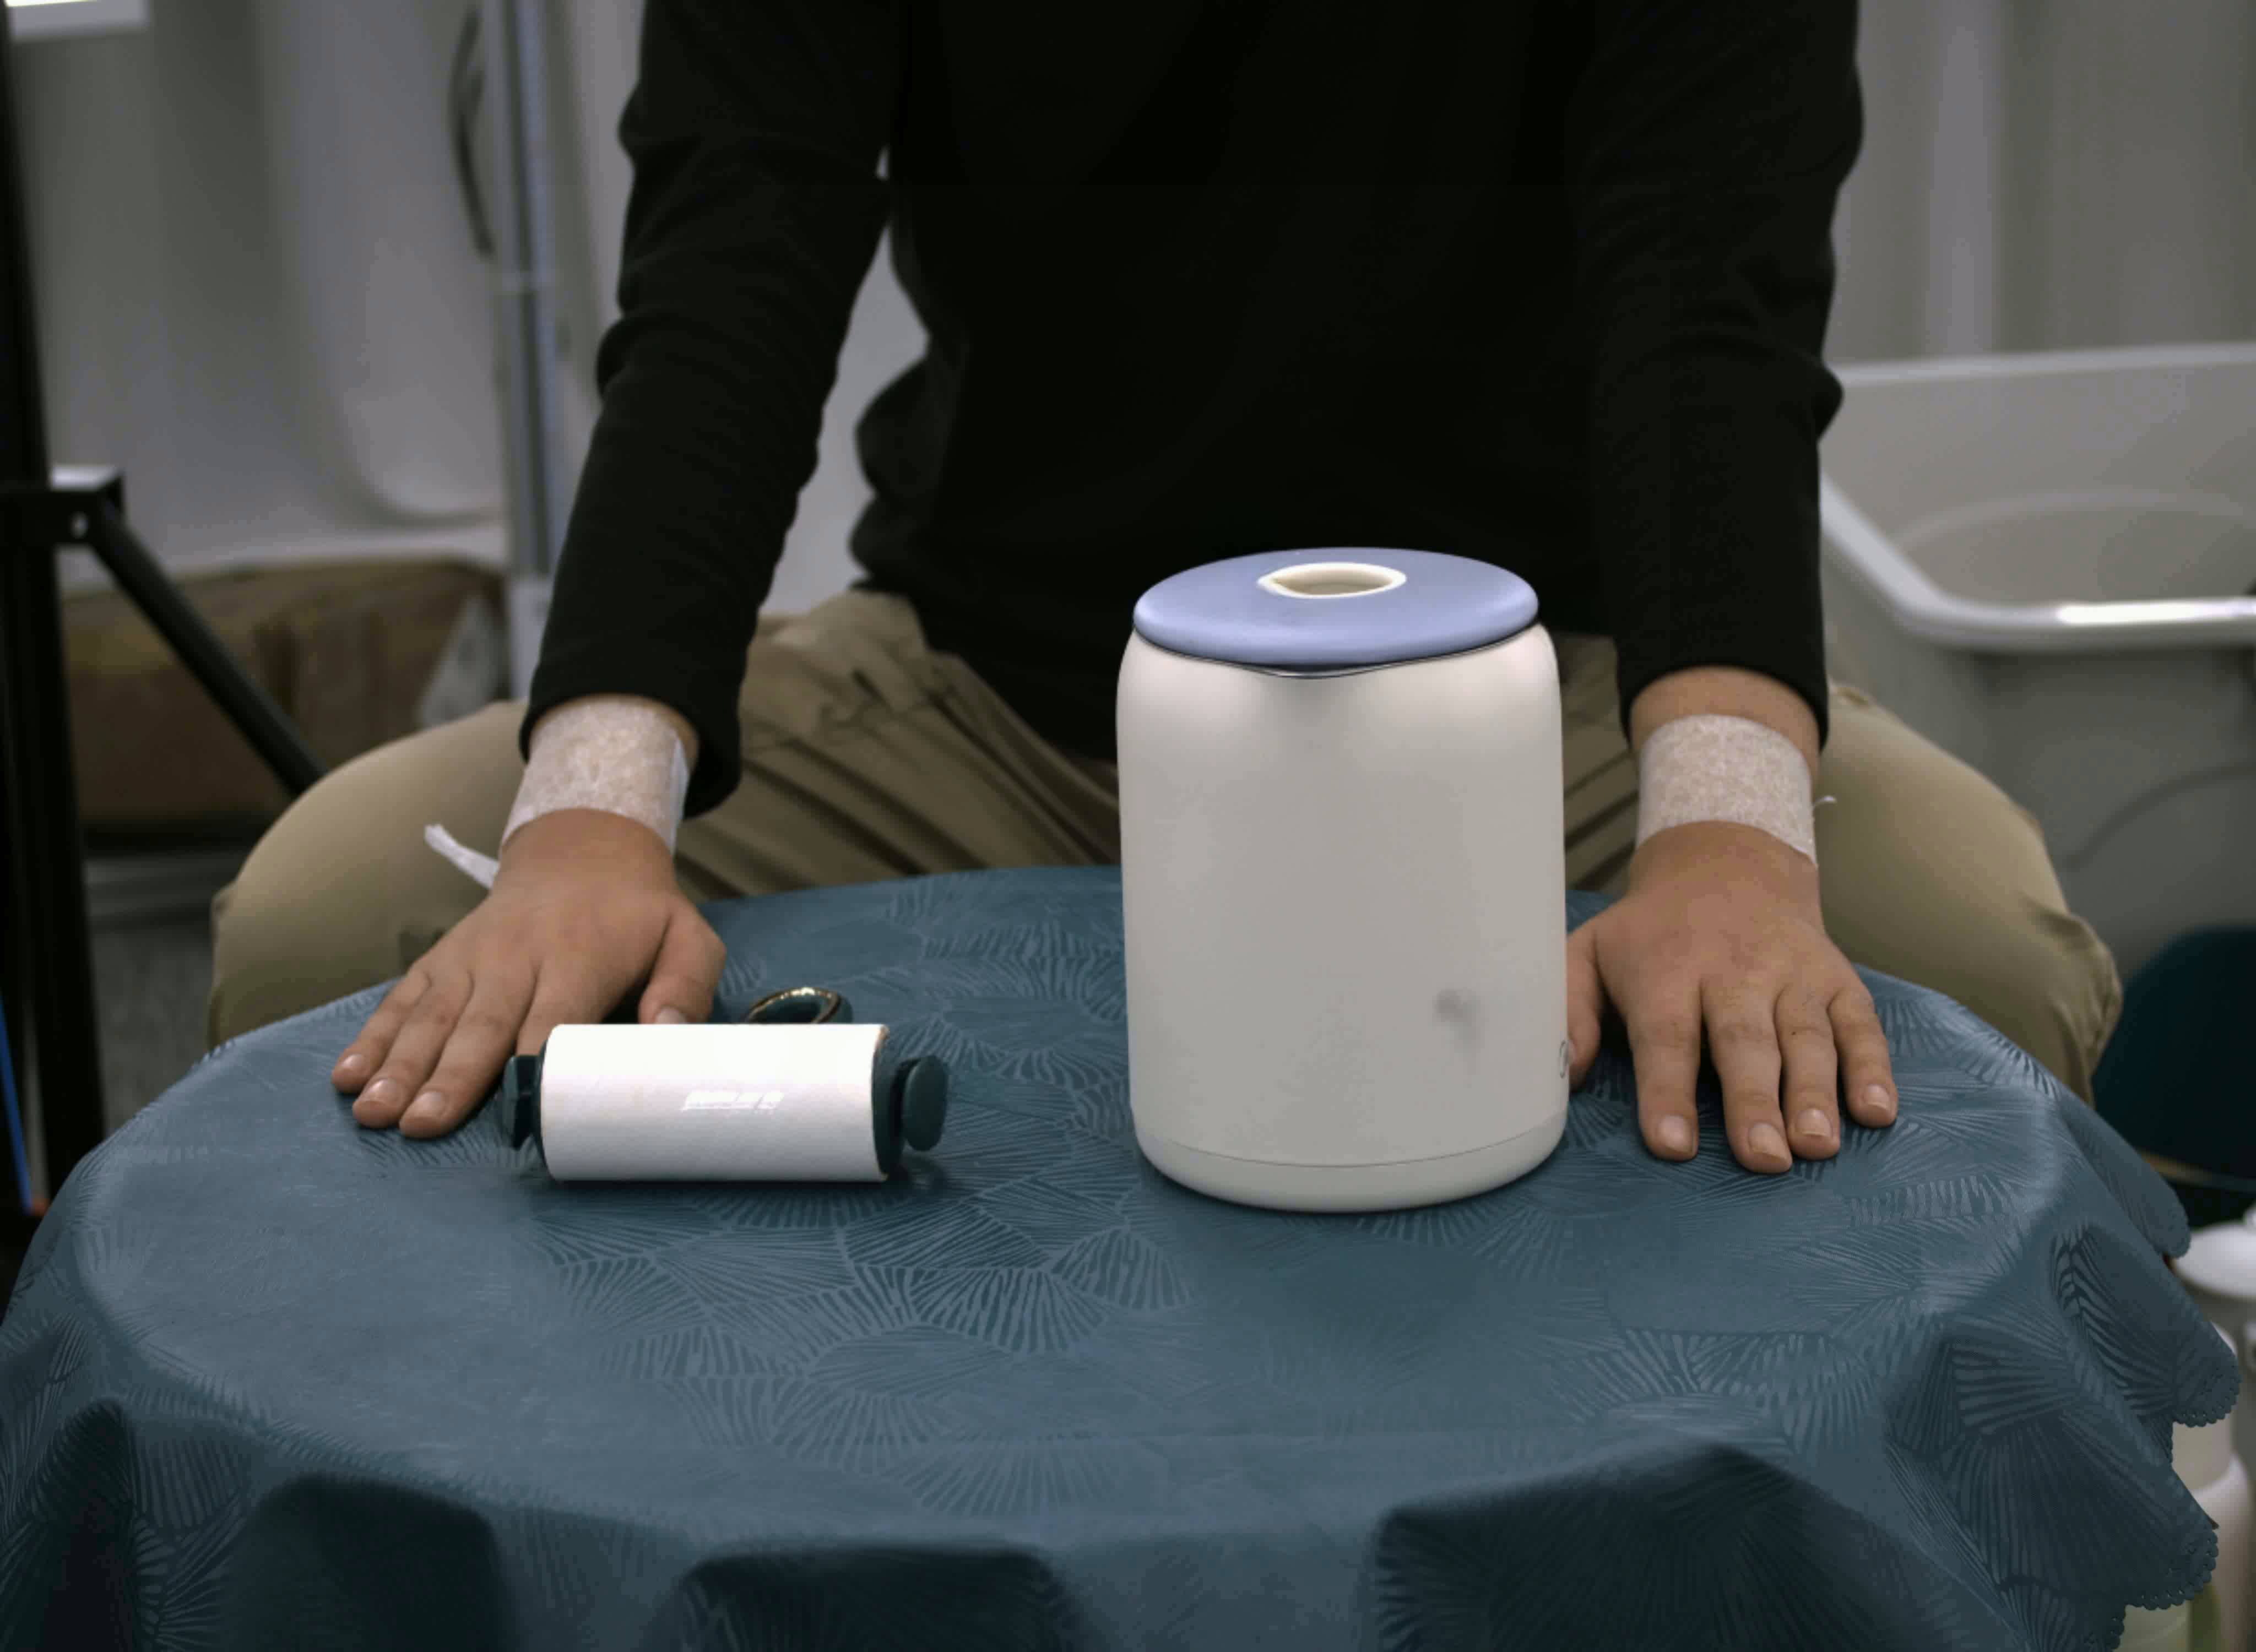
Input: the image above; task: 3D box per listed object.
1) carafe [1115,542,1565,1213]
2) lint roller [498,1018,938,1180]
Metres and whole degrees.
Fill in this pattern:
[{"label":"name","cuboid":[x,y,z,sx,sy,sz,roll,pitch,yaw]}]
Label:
[{"label":"carafe","cuboid":[0.066,0.008,1.586,0.132,0.182,0.190,0,13,7]},{"label":"lint roller","cuboid":[-0.114,0.066,1.647,0.134,0.048,0.179,0,13,7]}]
